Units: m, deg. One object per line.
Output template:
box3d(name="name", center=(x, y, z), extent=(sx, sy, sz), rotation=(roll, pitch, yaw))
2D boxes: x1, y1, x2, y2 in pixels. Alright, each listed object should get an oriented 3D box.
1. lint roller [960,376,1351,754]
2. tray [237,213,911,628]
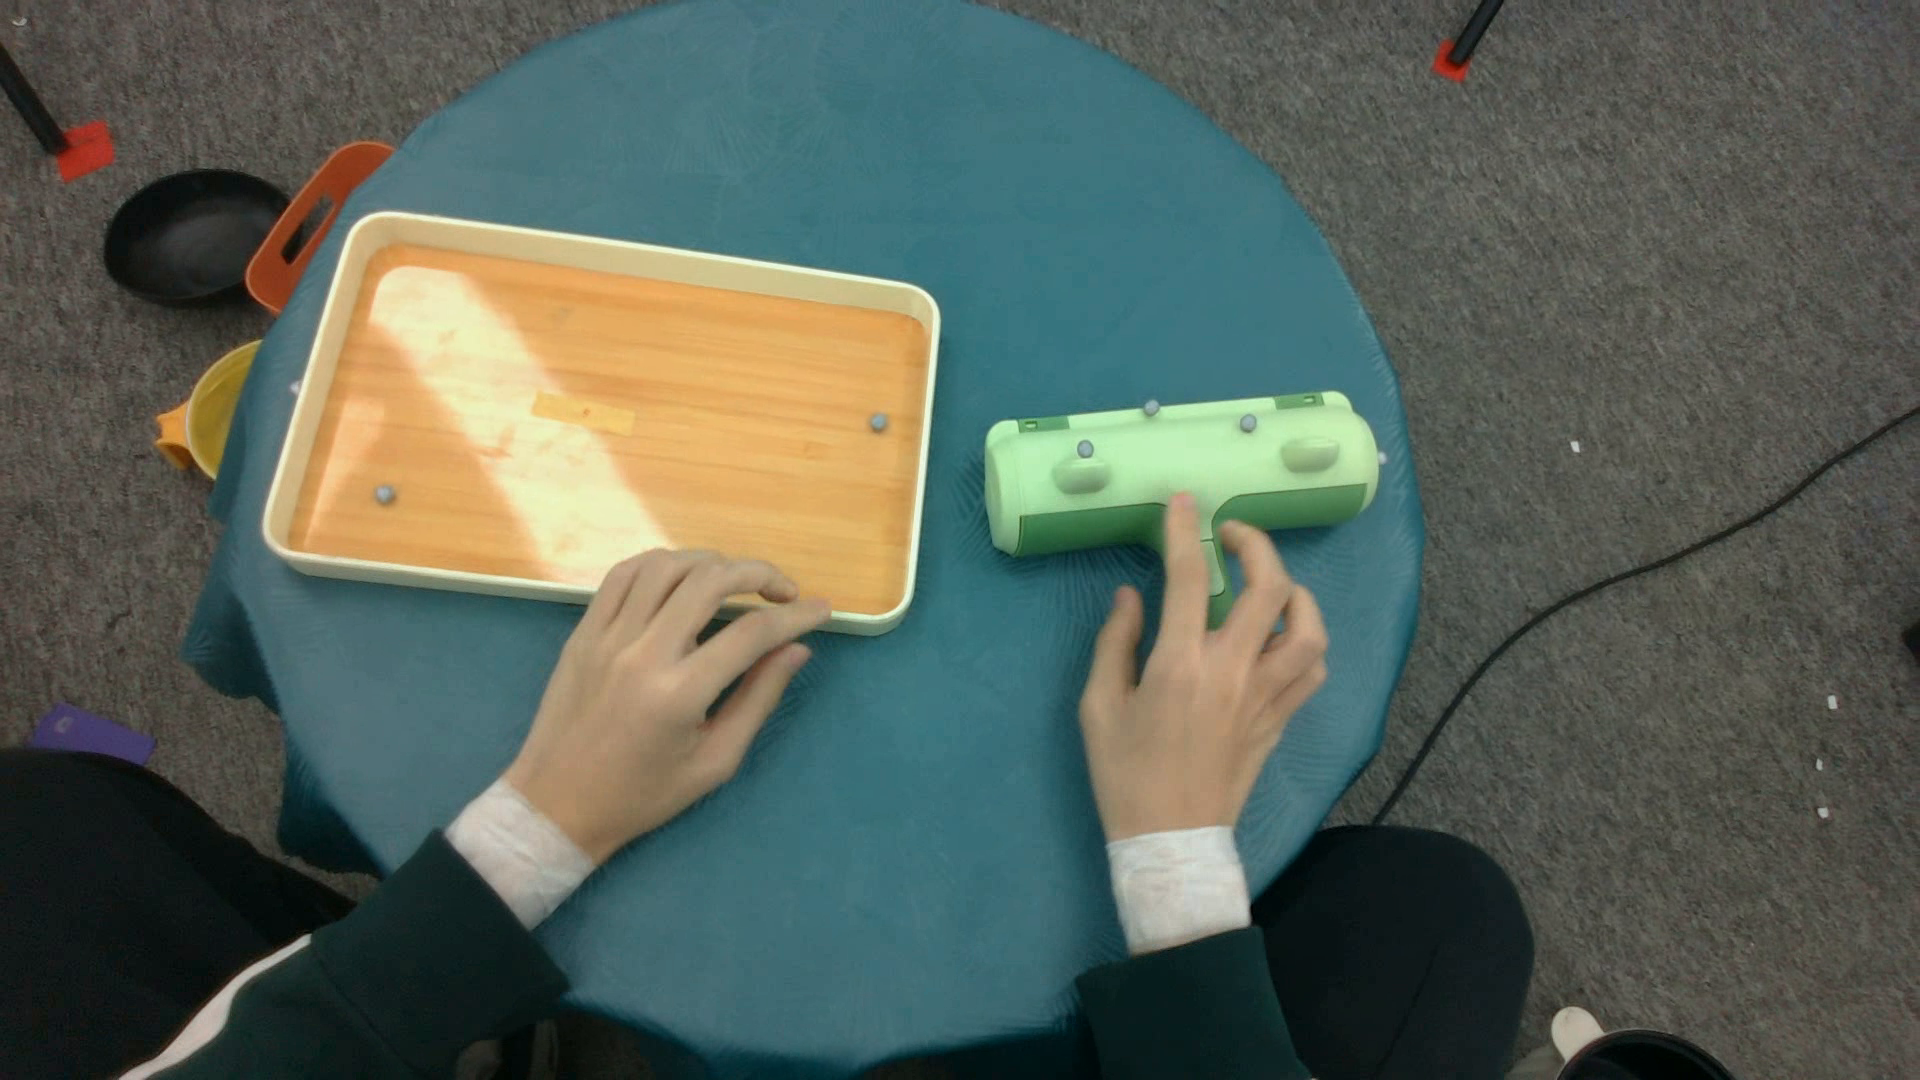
box3d(name="lint roller", center=(0.110, 0.007, 0.670), extent=(0.199, 0.082, 0.184), rotation=(-6, 65, -11))
box3d(name="tray", center=(-0.179, -0.060, 0.682), extent=(0.300, 0.027, 0.192), rotation=(6, 68, -6))
